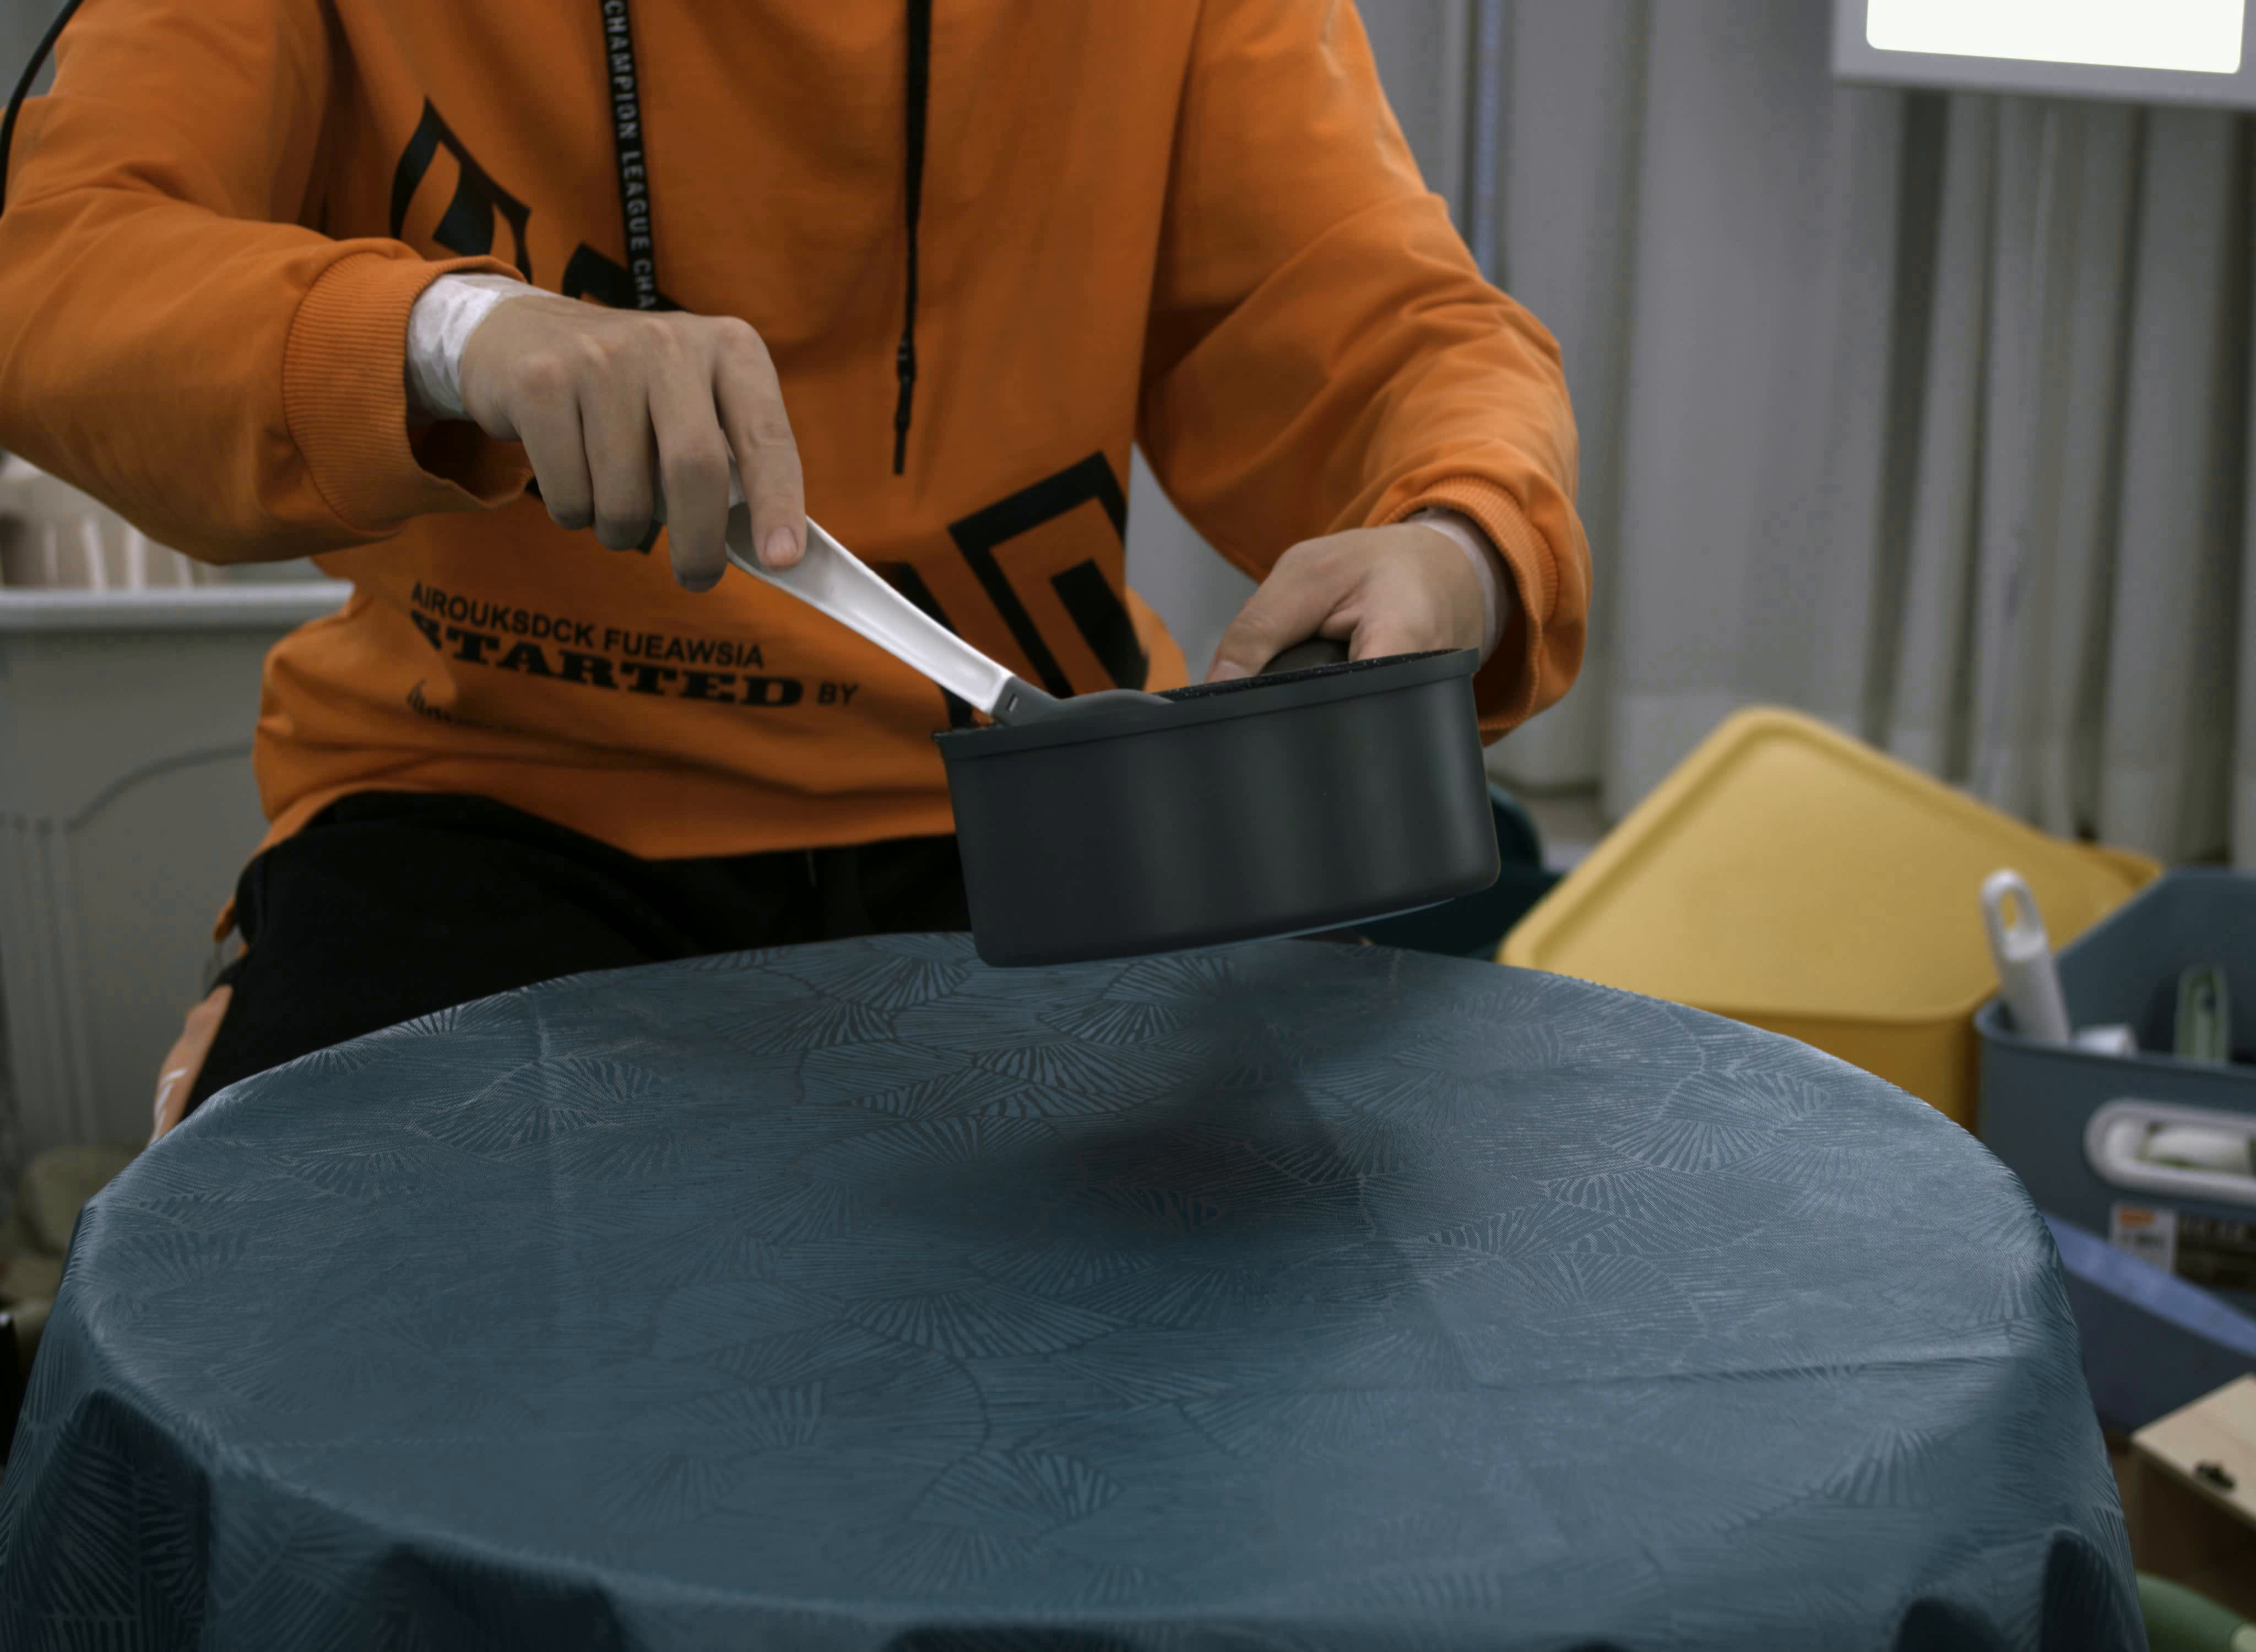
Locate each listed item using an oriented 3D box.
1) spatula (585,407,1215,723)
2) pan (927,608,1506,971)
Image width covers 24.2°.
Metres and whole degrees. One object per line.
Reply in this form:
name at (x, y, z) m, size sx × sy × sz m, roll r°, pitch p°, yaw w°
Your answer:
spatula at (-0.056, -0.061, 1.661) m, size 0.284 × 0.059 × 0.032 m, roll 29°, pitch 8°, yaw 26°
pan at (0.047, -0.016, 1.685) m, size 0.171 × 0.087 × 0.329 m, roll -7°, pitch 4°, yaw 14°
